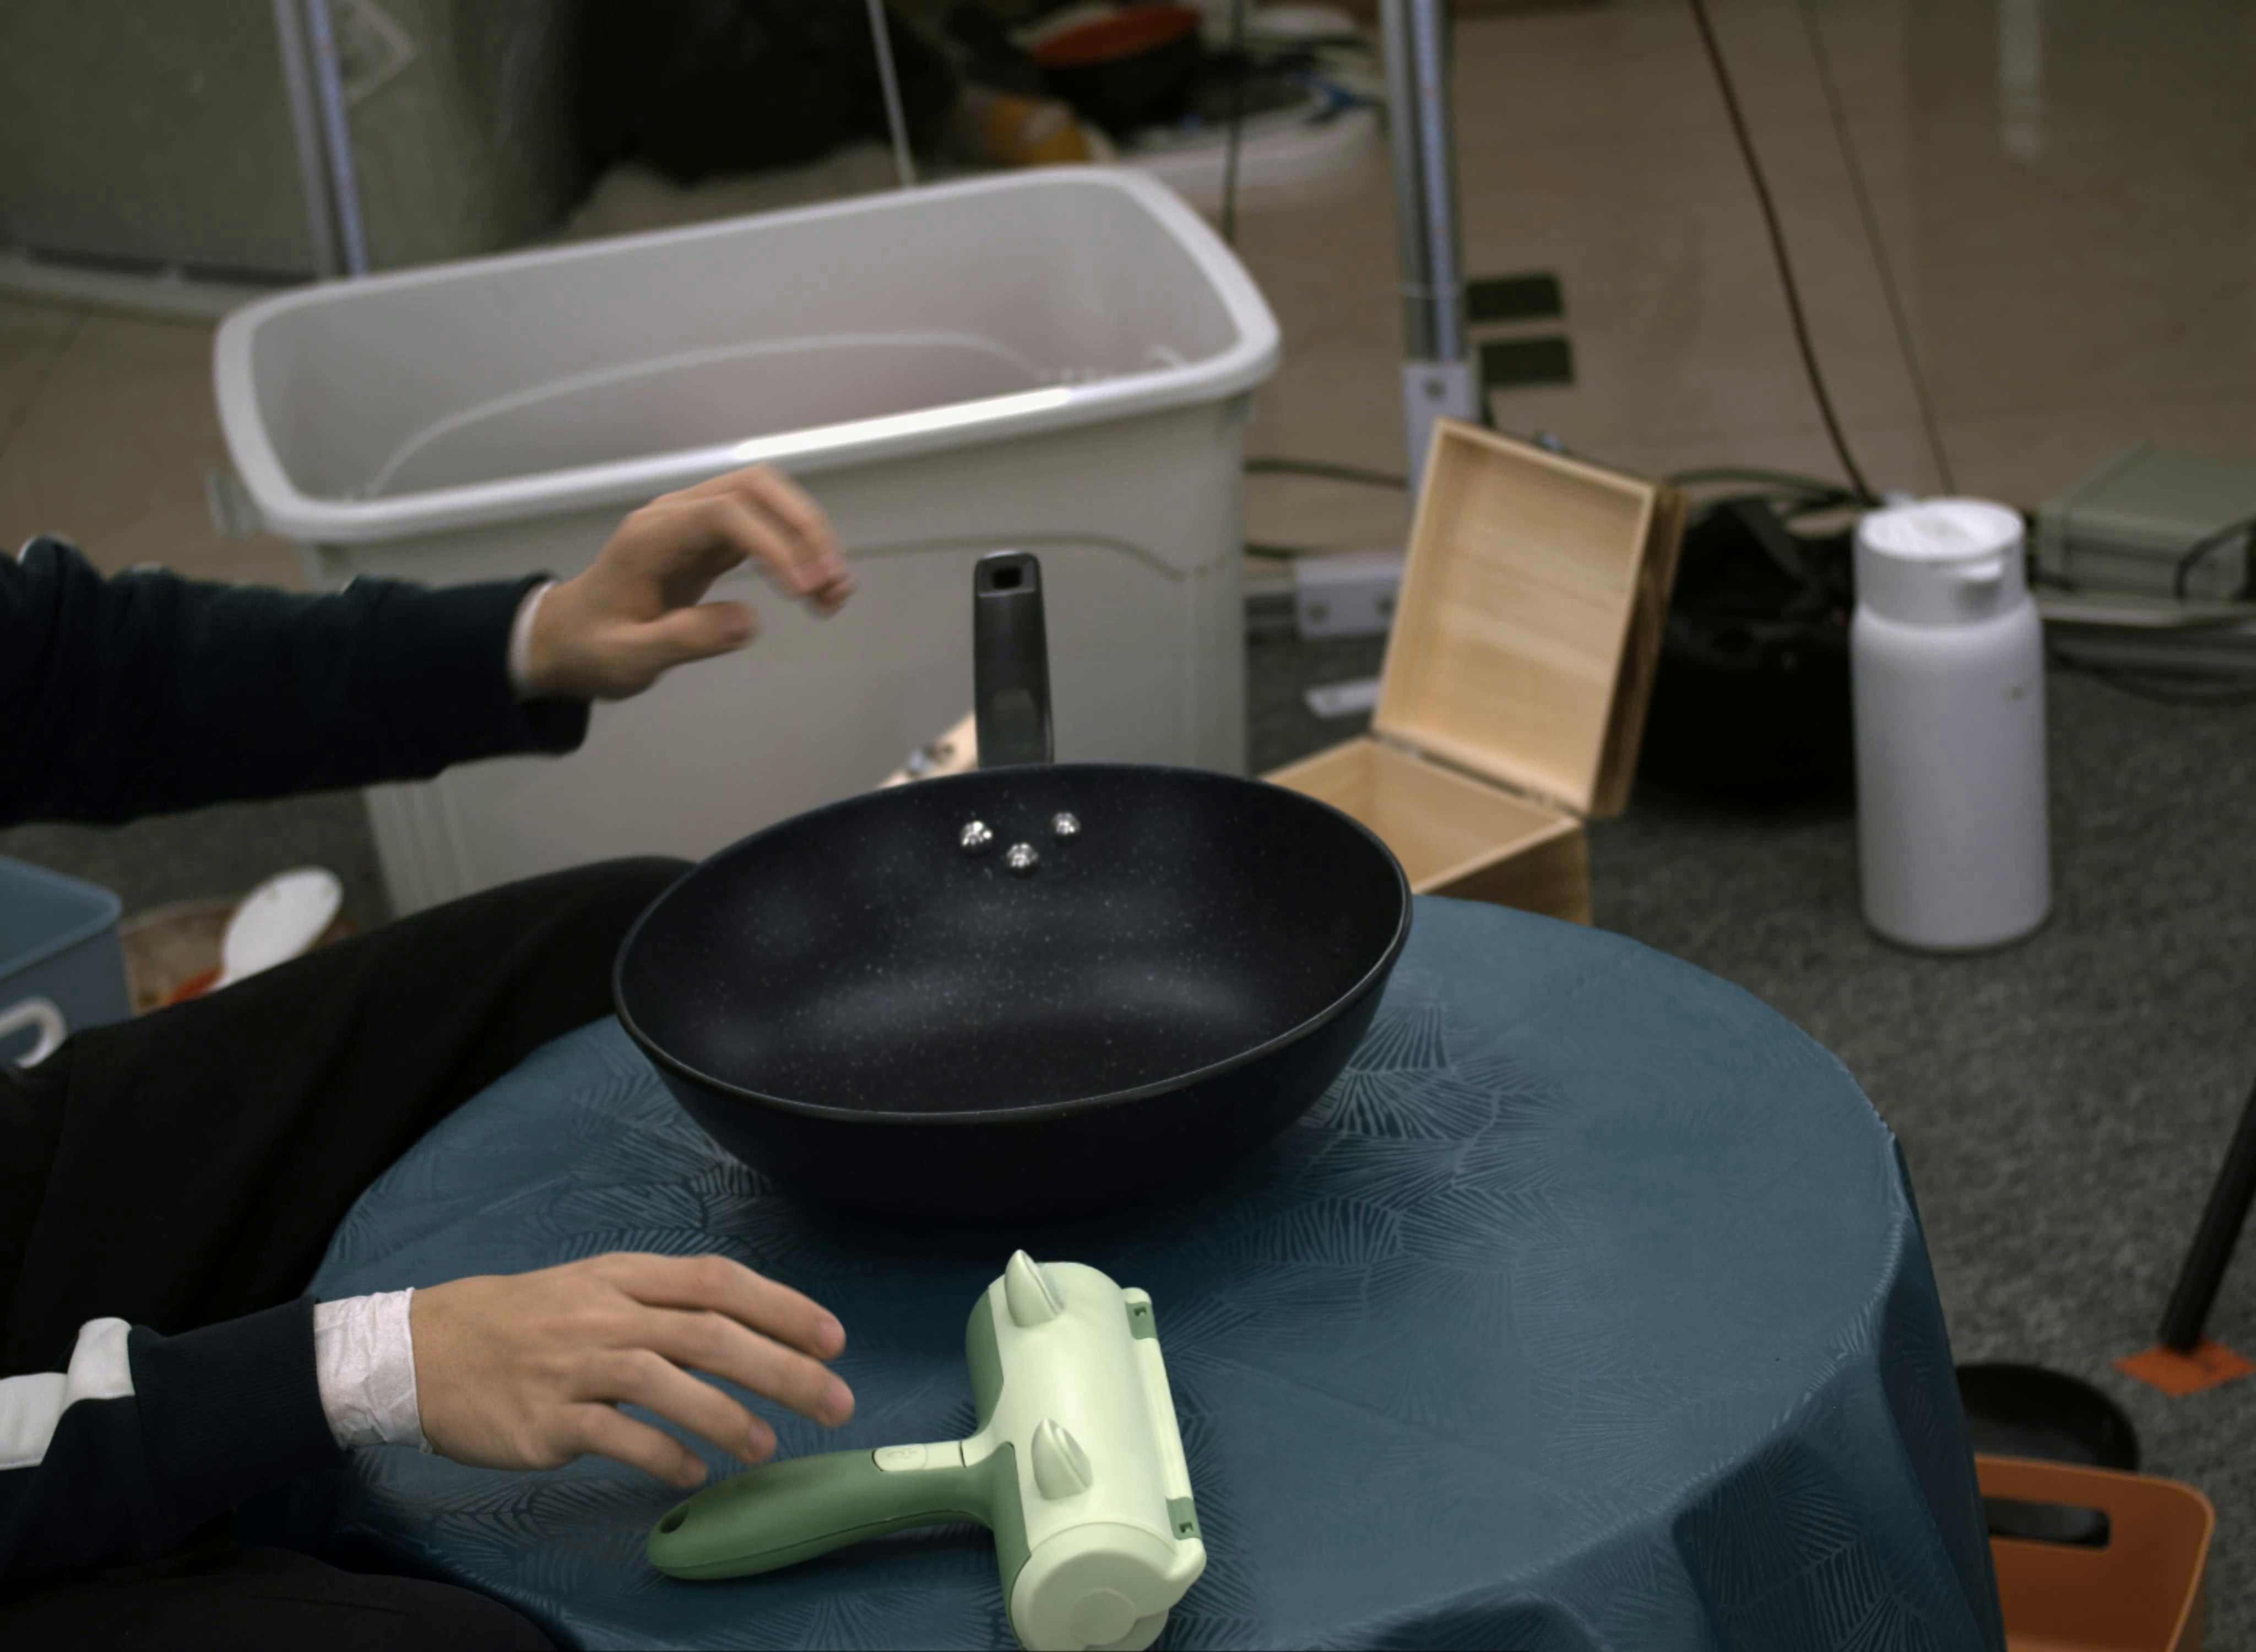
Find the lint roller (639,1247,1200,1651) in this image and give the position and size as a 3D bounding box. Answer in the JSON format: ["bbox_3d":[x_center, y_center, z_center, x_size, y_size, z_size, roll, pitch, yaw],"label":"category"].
[{"bbox_3d":[-0.075,0.210,1.921,0.183,0.083,0.195,-3,25,-5],"label":"lint roller"}]

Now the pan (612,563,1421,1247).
[{"bbox_3d":[-0.042,0.036,2.248,0.310,0.113,0.470,-4,26,1],"label":"pan"}]
